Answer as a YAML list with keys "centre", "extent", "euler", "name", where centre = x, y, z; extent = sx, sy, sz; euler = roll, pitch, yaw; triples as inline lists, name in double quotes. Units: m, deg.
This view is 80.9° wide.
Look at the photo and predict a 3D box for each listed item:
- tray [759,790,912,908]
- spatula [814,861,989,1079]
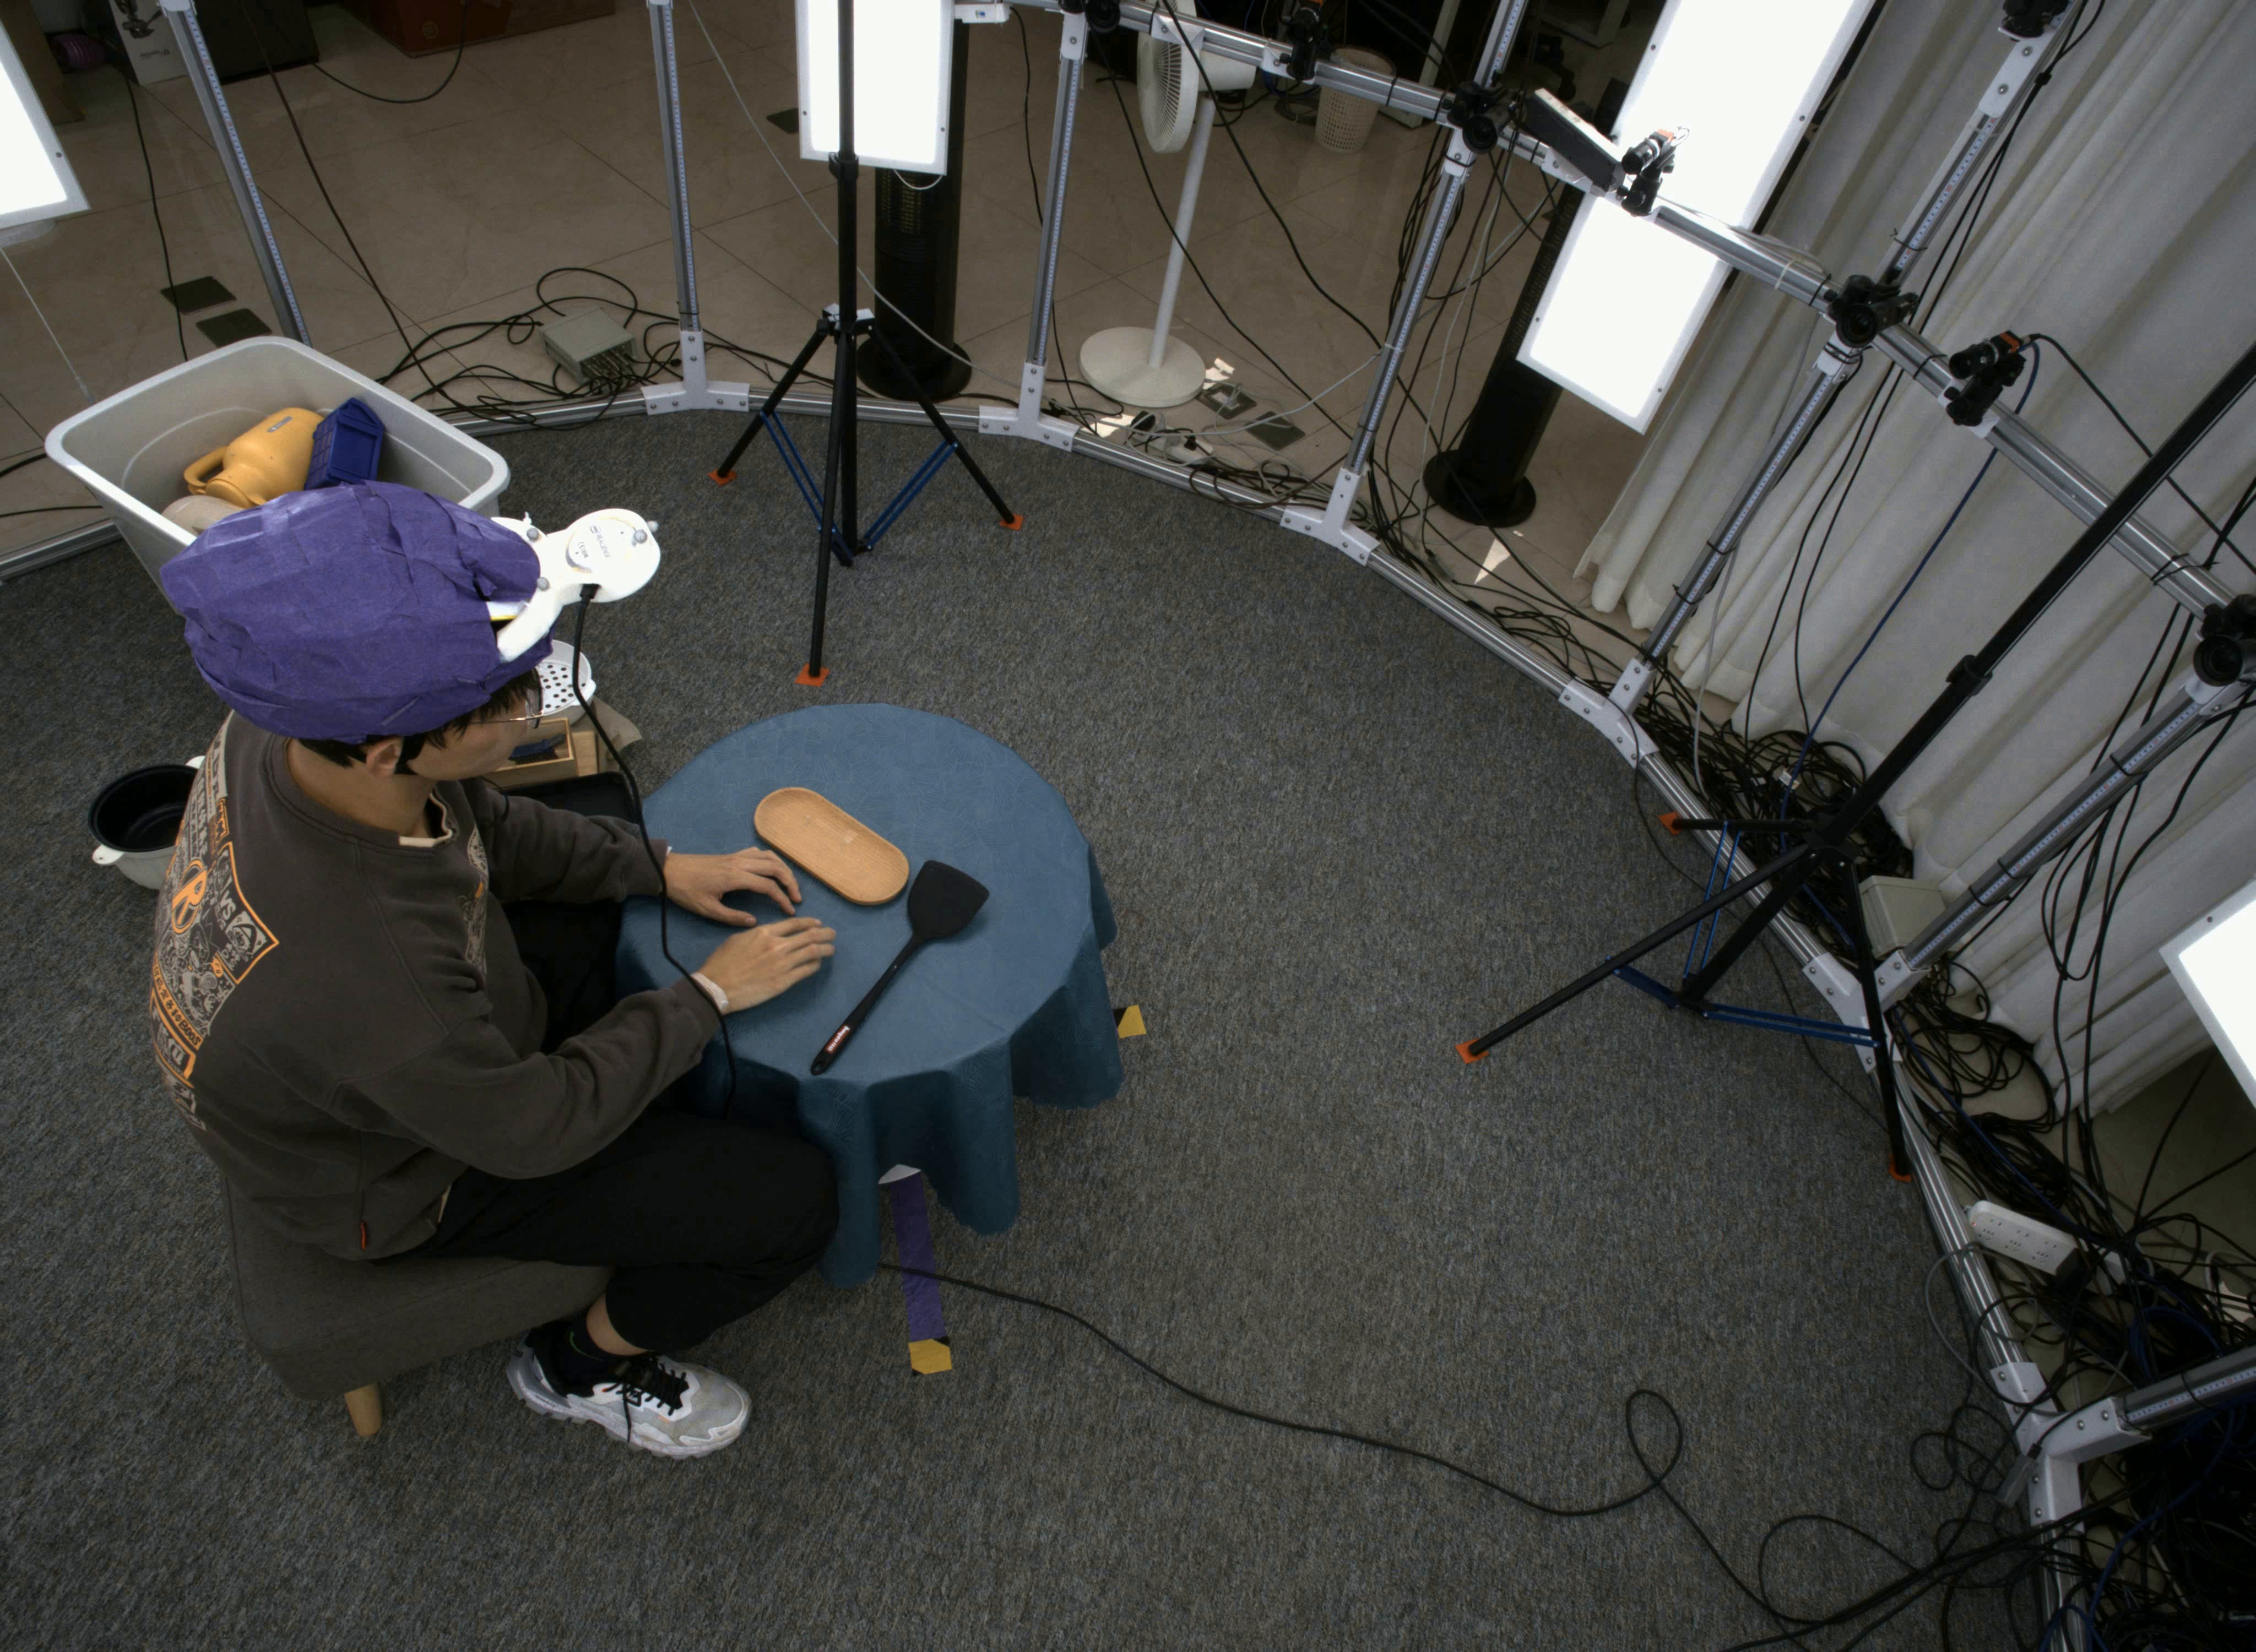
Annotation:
- centre: [-0.388, 0.029, 1.716]
  extent: [0.227, 0.021, 0.101]
  euler: [33, 54, 10]
  name: "tray"
- centre: [-0.293, 0.178, 1.617]
  extent: [0.098, 0.041, 0.324]
  euler: [28, 53, 9]
  name: "spatula"
